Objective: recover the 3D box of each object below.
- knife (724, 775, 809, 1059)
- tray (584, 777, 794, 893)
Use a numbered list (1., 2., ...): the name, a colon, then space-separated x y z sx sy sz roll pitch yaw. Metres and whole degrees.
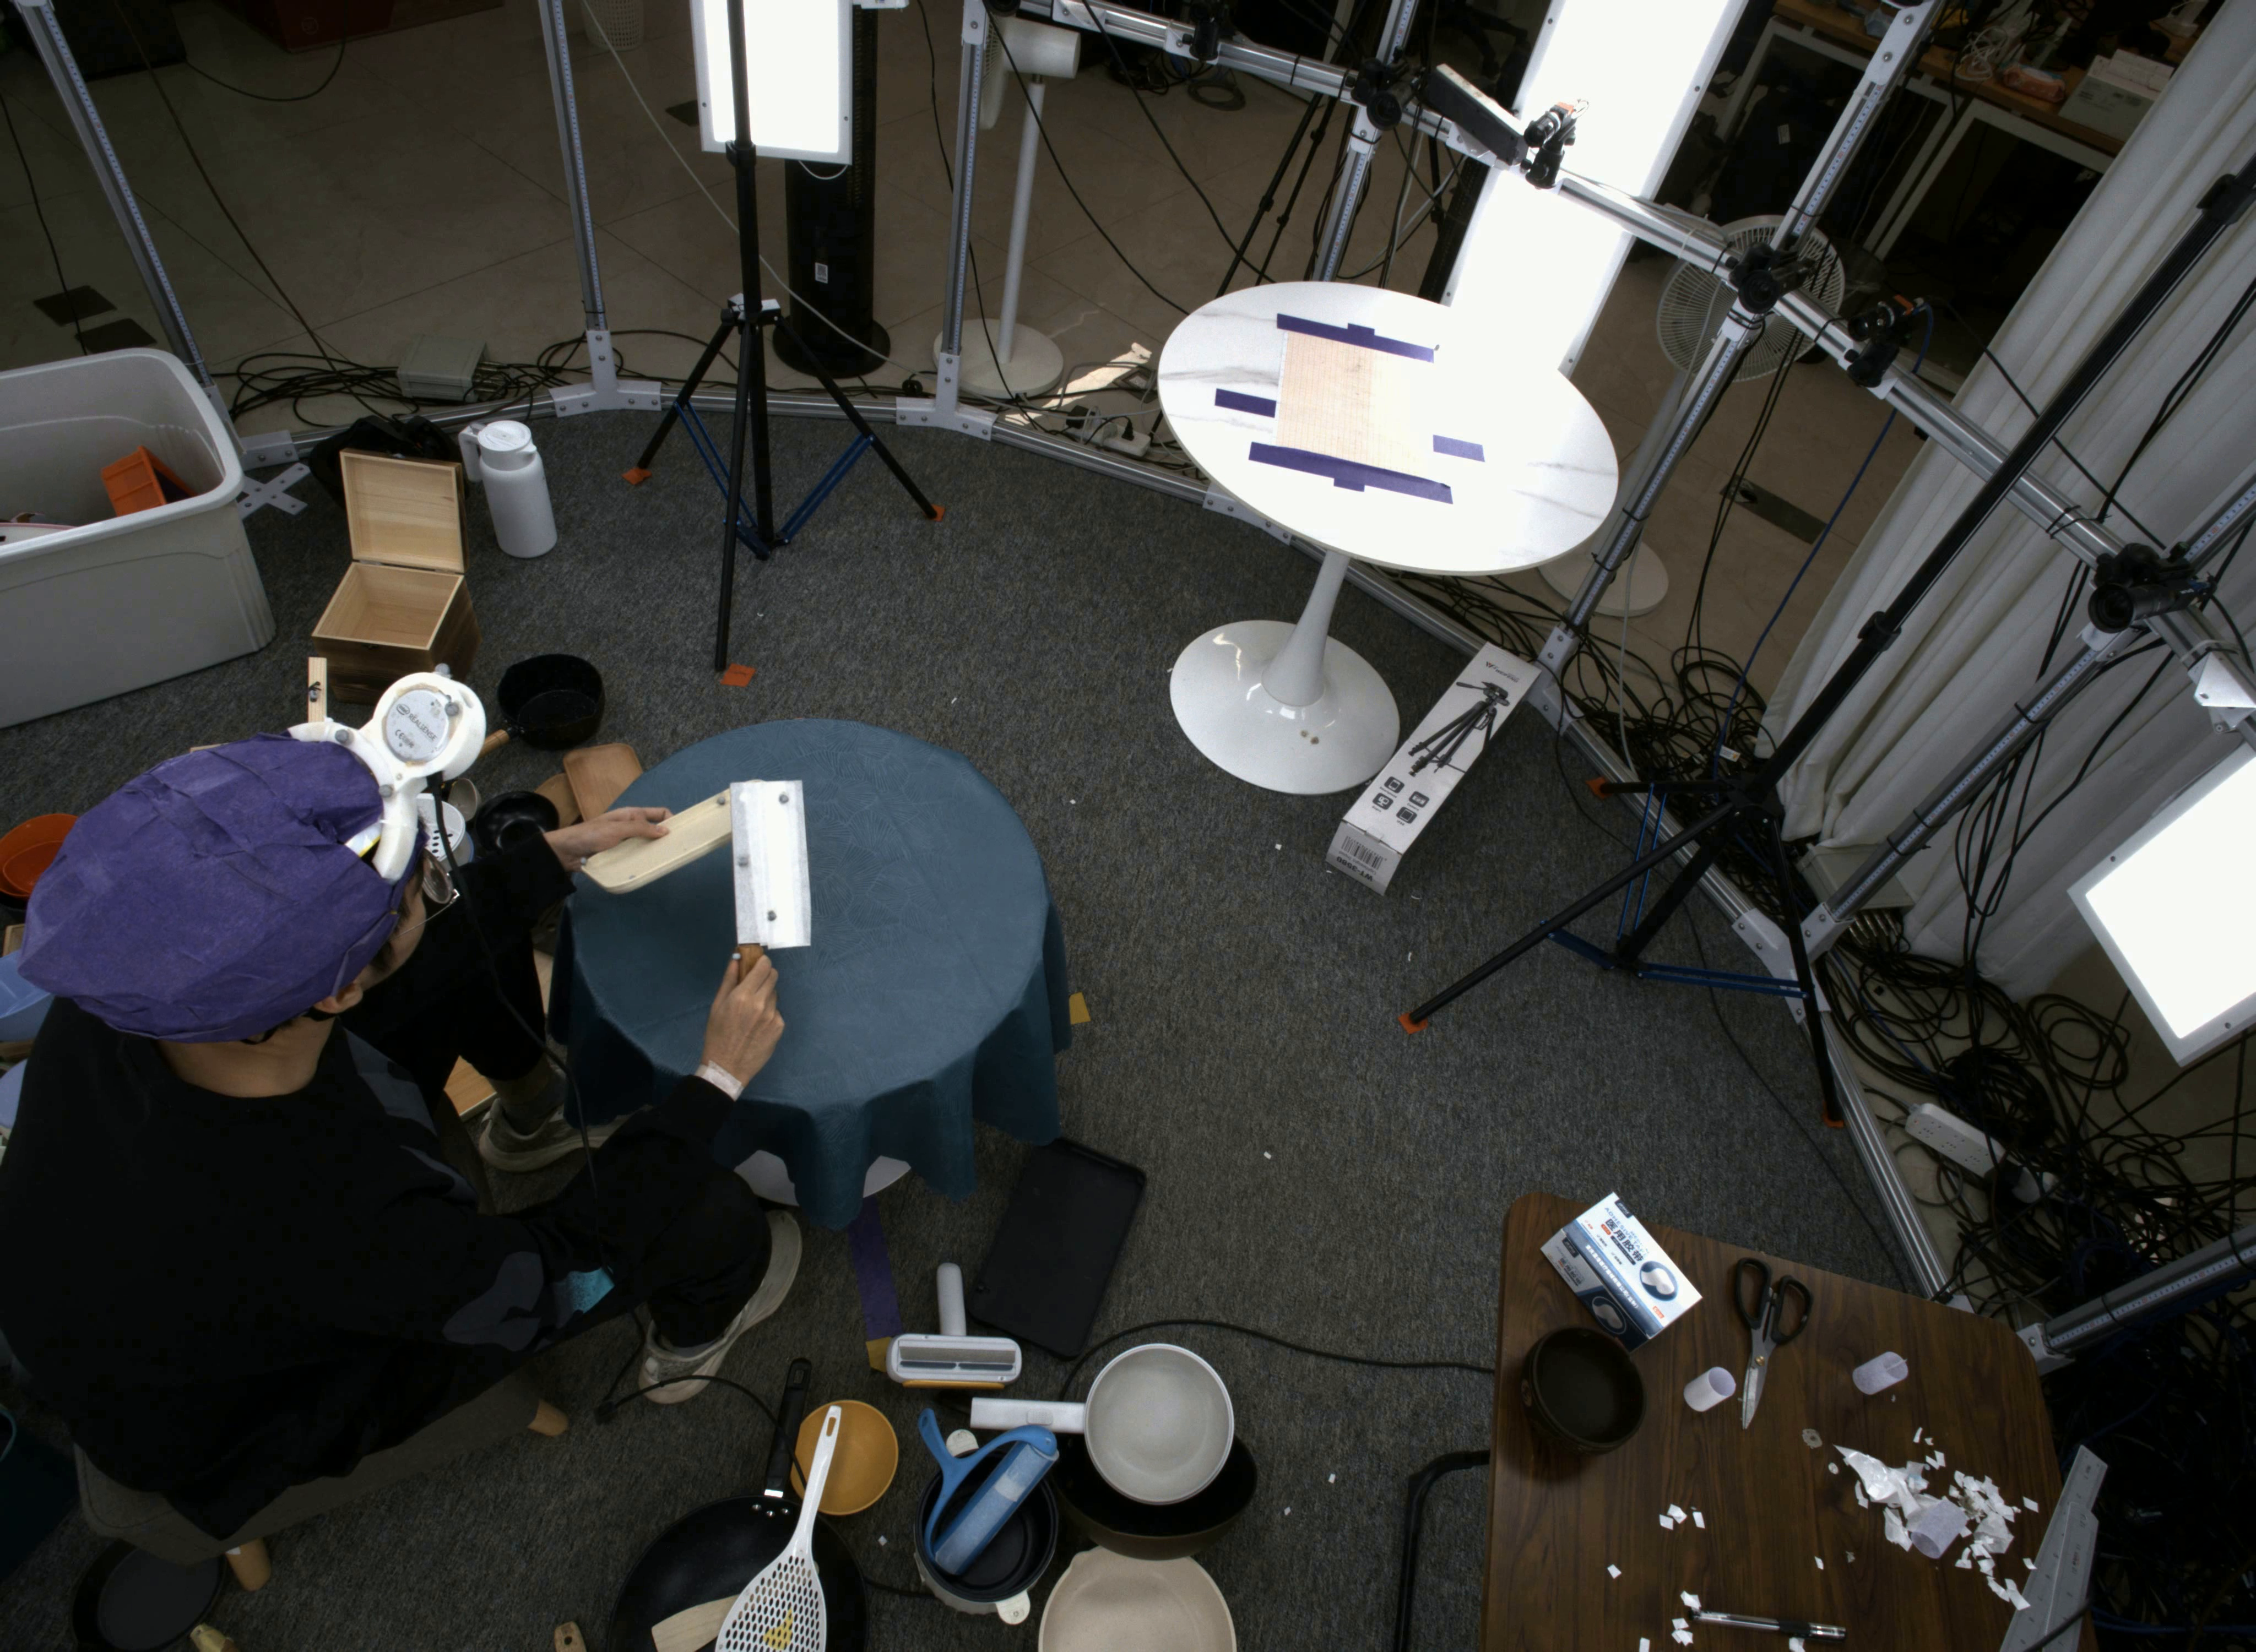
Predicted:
1. knife: -0.398 0.098 1.439 0.094 0.020 0.310 -6 95 -43
2. tray: -0.510 0.007 1.489 0.240 0.018 0.165 -31 25 -28
